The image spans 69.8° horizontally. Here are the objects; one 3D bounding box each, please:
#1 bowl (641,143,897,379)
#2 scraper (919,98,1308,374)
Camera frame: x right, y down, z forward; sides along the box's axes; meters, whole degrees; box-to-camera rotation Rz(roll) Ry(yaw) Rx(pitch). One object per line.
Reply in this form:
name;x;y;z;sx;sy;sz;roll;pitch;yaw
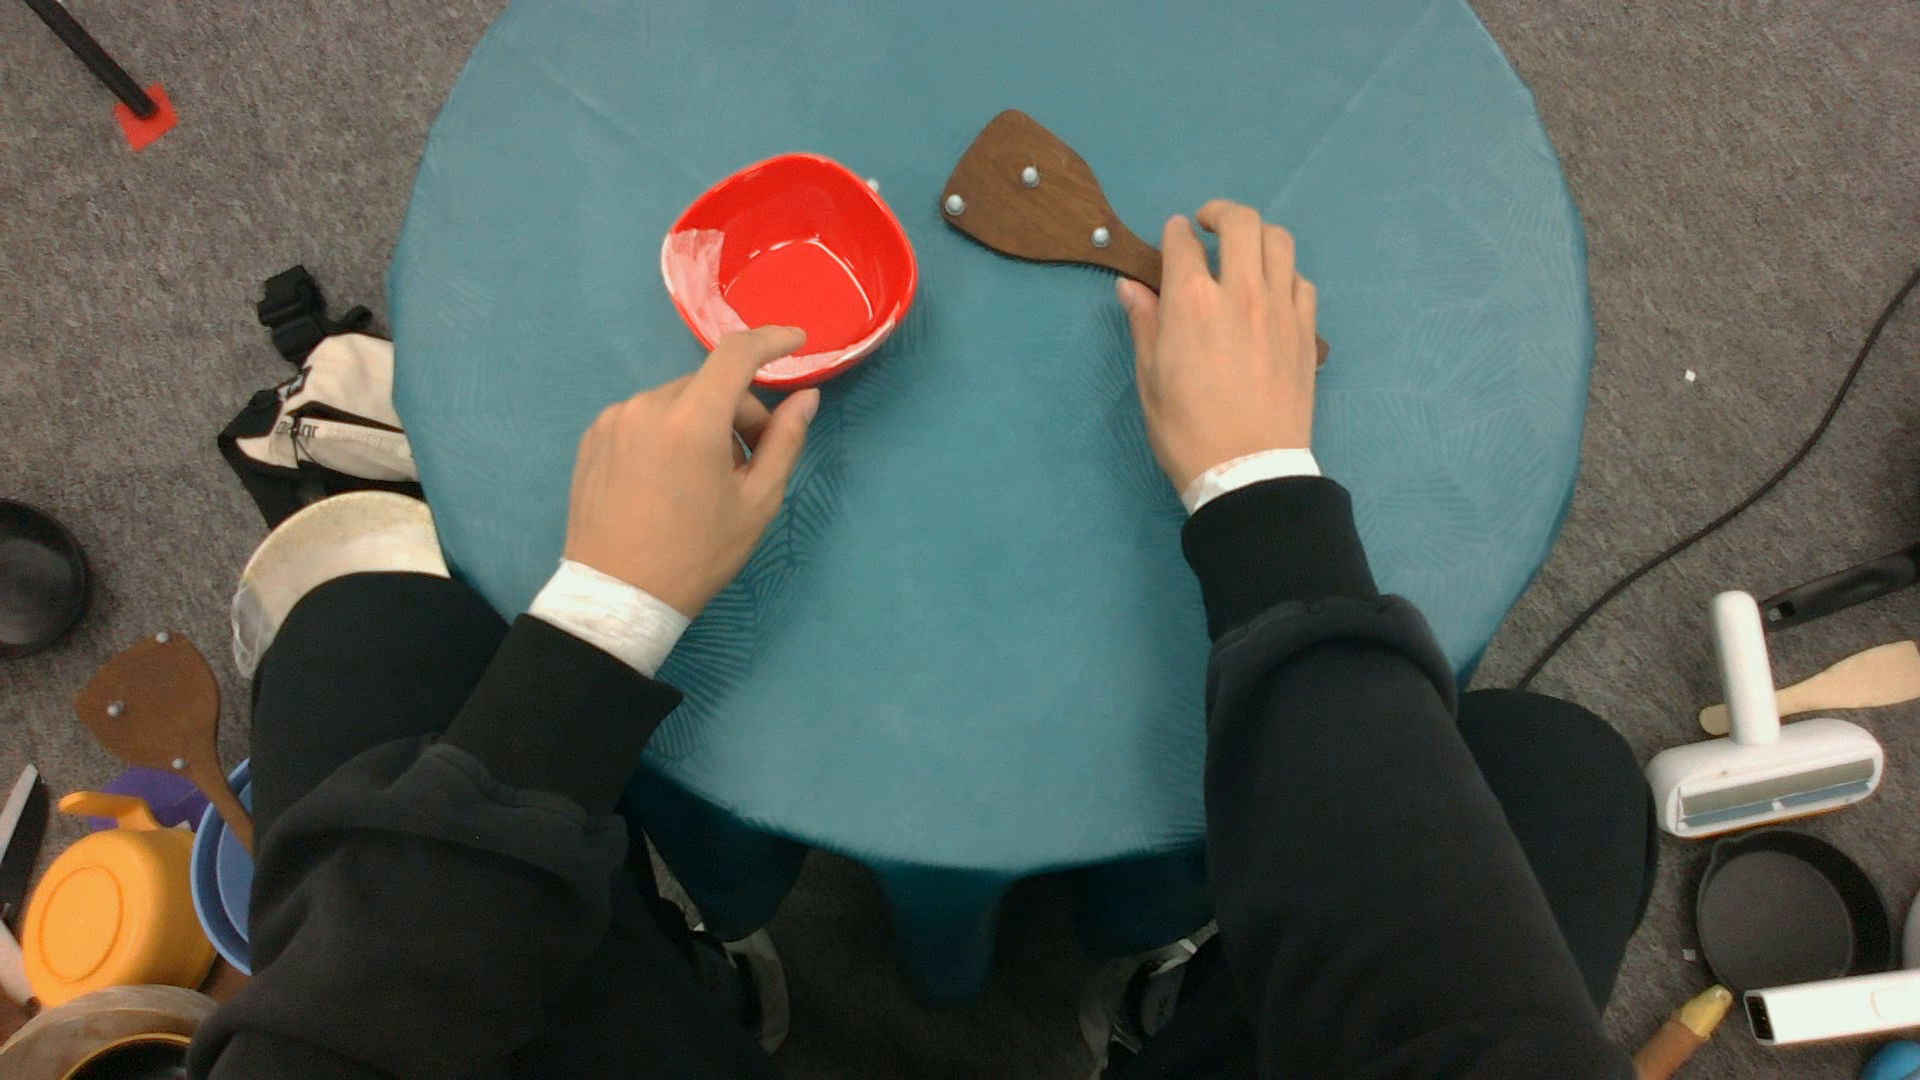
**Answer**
bowl;-0.090;-0.126;0.662;0.119;0.051;0.119;1;72;-3
scraper;0.080;-0.146;0.694;0.211;0.011;0.076;33;76;7
